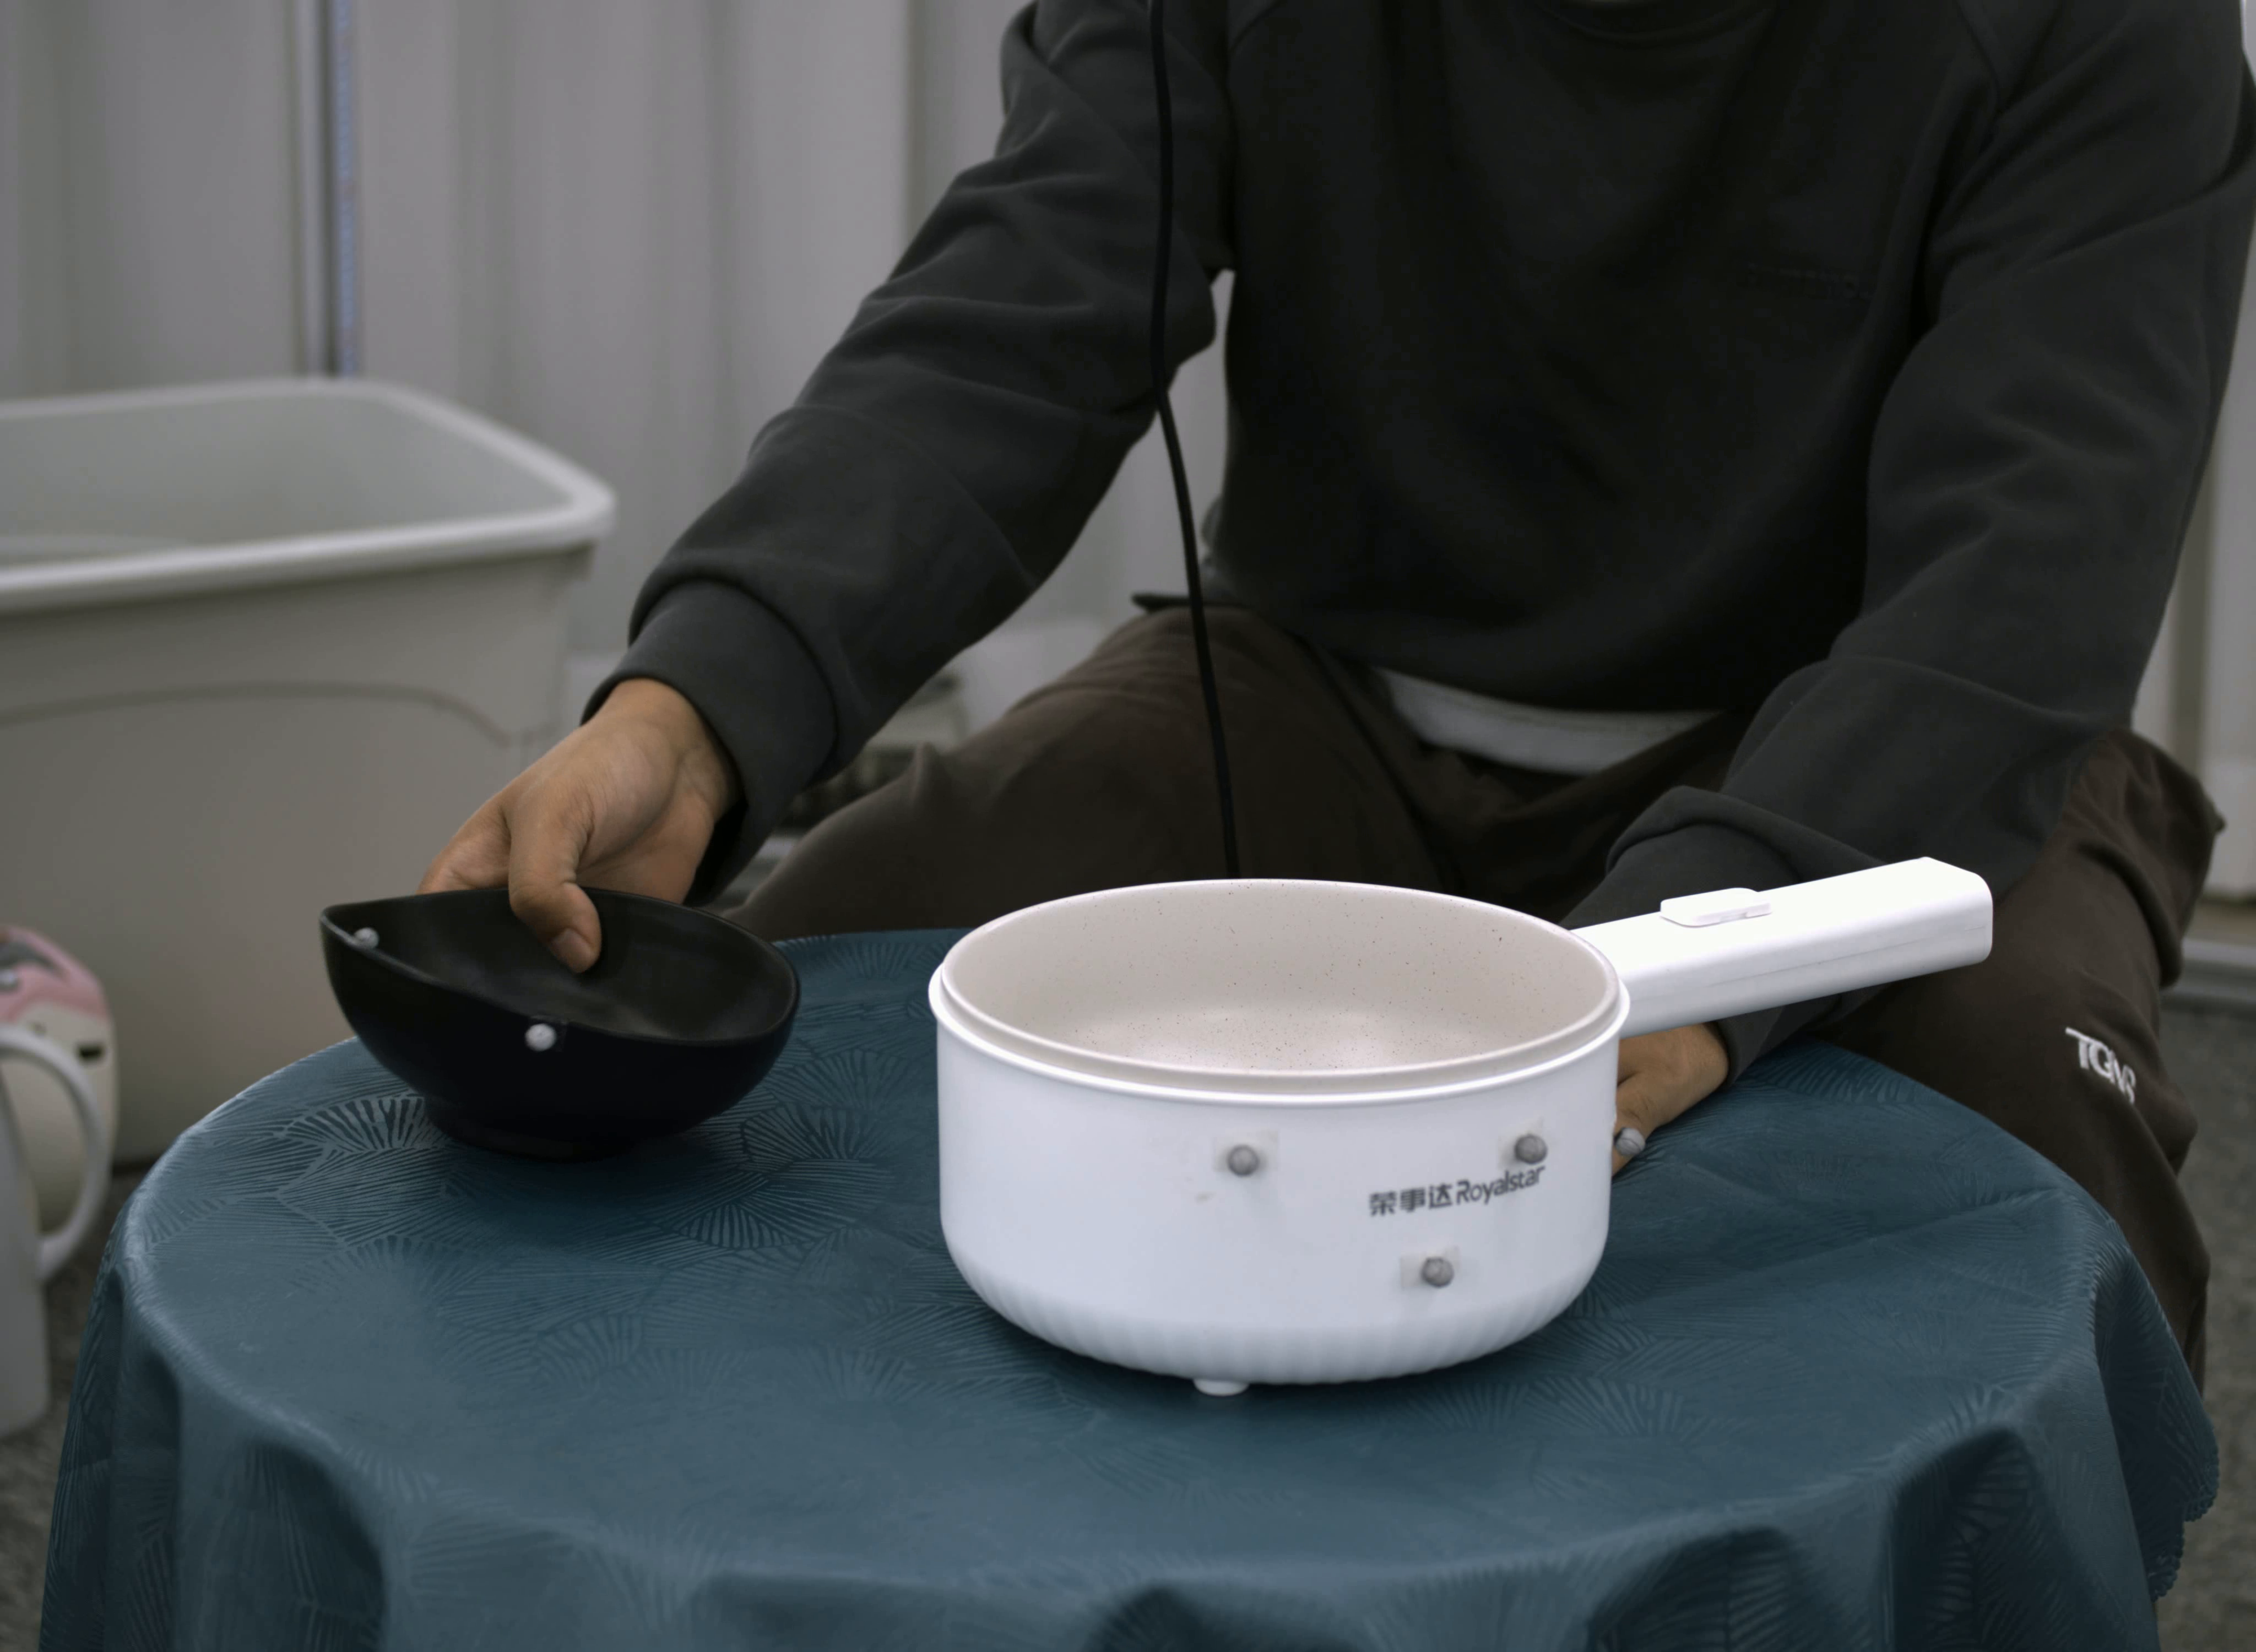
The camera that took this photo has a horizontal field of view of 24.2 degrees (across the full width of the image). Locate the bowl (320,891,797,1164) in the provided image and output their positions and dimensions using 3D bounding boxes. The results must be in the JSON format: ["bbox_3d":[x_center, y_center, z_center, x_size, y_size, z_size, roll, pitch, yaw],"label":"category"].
[{"bbox_3d":[-0.183,0.066,1.651,0.168,0.067,0.138,19,18,39],"label":"bowl"}]

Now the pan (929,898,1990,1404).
[{"bbox_3d":[0.107,0.088,1.563,0.356,0.103,0.199,-7,13,-33],"label":"pan"}]
